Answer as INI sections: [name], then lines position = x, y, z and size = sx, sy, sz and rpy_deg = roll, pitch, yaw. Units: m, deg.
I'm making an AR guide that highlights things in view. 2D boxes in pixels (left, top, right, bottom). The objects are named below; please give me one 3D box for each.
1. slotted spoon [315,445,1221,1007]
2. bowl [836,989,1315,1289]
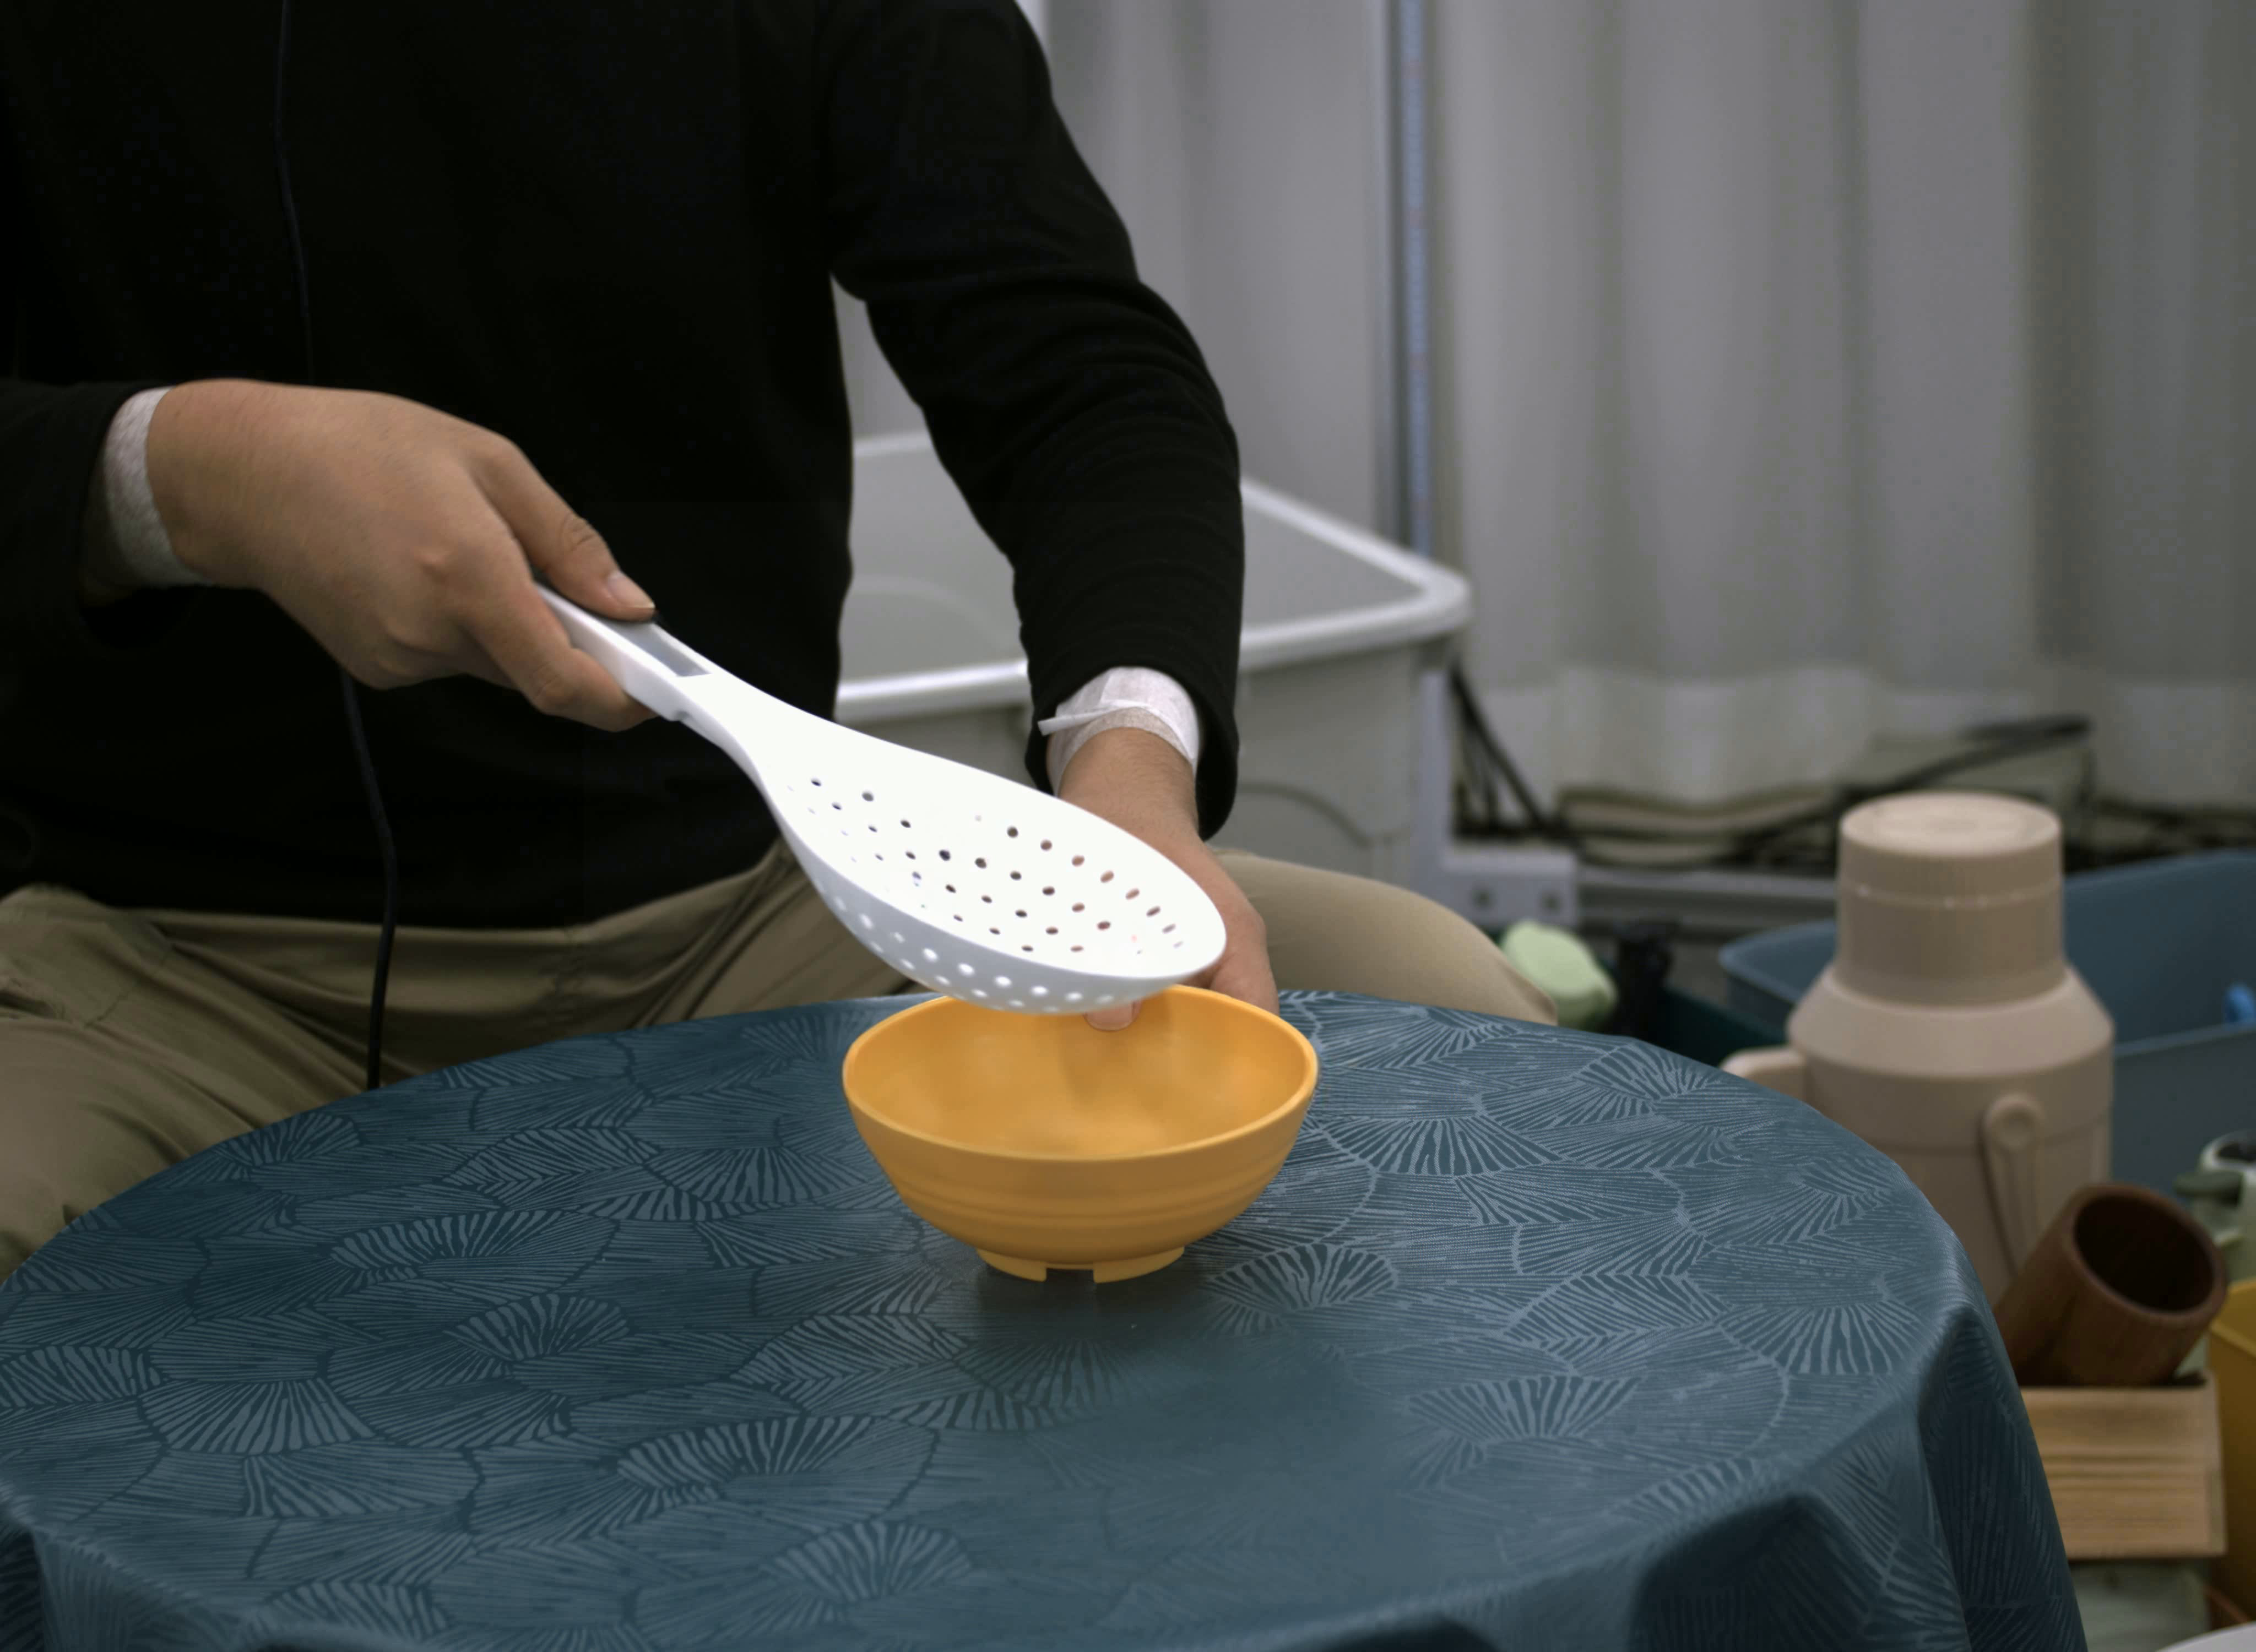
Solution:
[slotted spoon]
position = -0.120, -0.034, 1.639
size = 0.353, 0.045, 0.135
rpy_deg = 36, 26, 28
[bowl]
position = -0.016, 0.100, 1.654
size = 0.145, 0.060, 0.146
rpy_deg = 1, 18, -1
